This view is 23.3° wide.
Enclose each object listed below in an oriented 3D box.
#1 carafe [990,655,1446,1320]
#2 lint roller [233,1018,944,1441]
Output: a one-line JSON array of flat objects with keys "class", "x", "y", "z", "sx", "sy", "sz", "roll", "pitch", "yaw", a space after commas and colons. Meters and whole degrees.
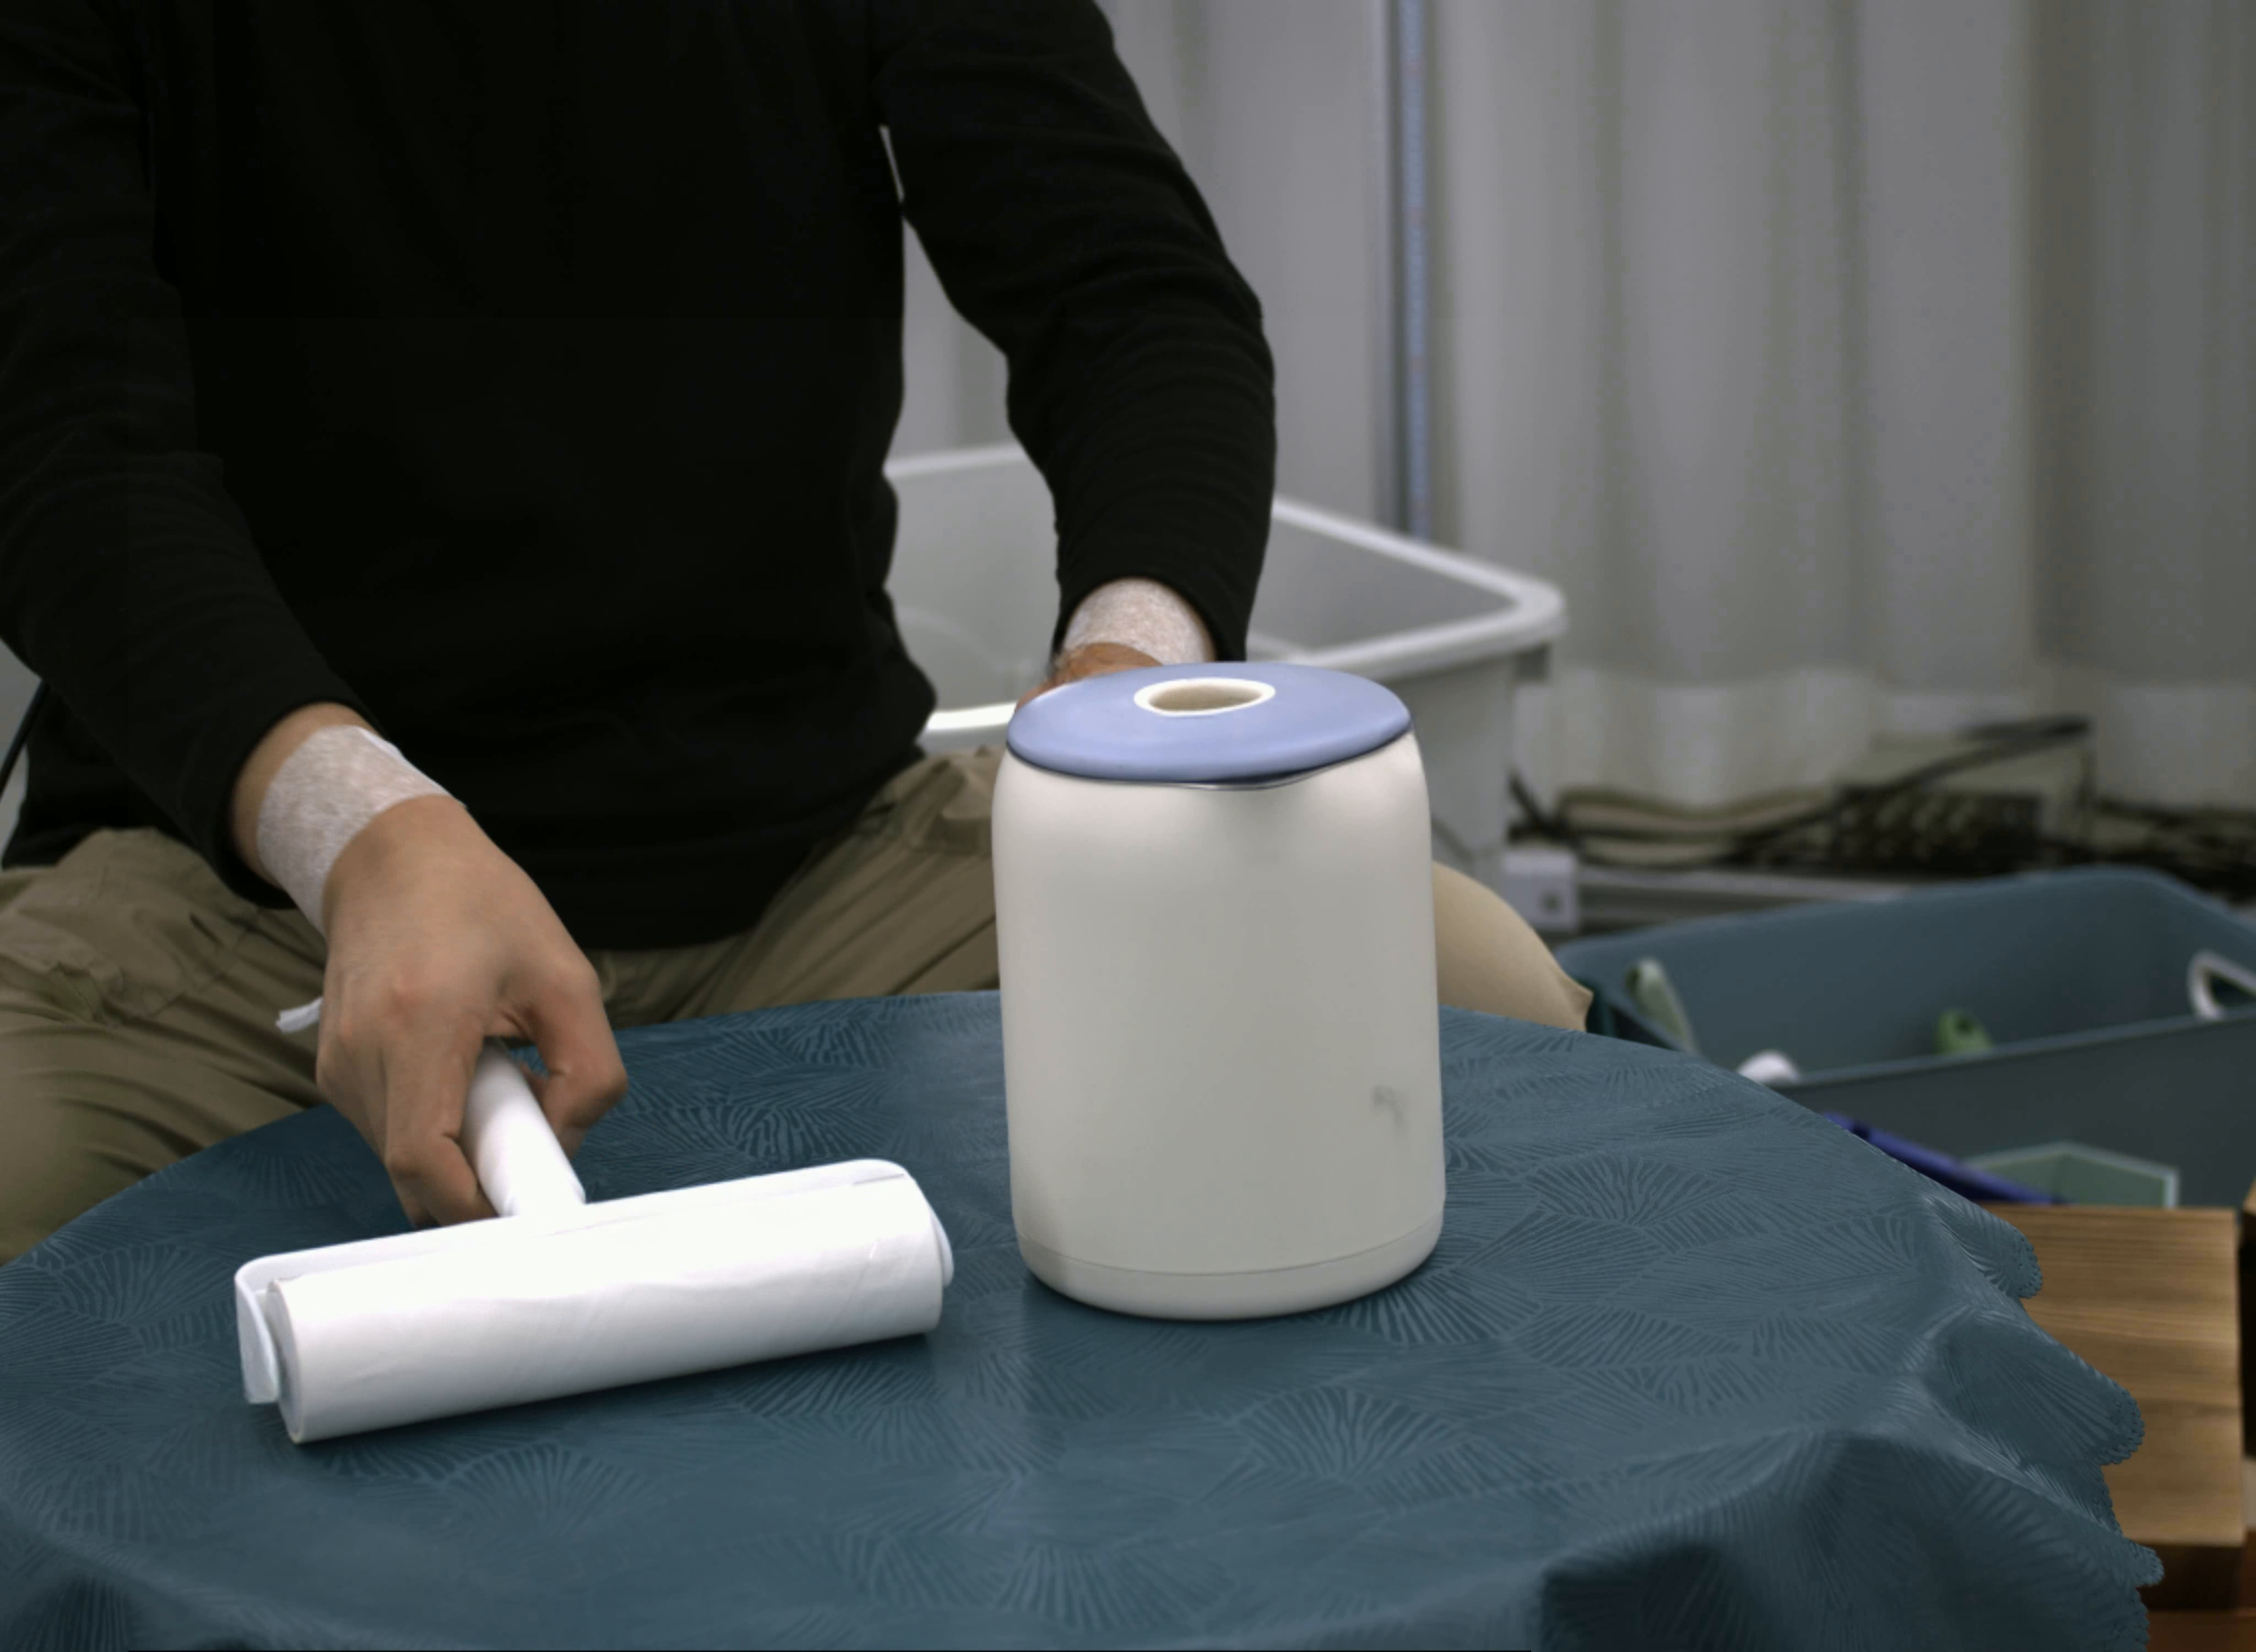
[{"class": "carafe", "x": 0.021, "y": 0.041, "z": 1.653, "sx": 0.131, "sy": 0.182, "sz": 0.192, "roll": -6, "pitch": 12, "yaw": -14}, {"class": "lint roller", "x": -0.182, "y": 0.103, "z": 1.643, "sx": 0.202, "sy": 0.048, "sz": 0.228, "roll": -10, "pitch": 26, "yaw": -19}]
